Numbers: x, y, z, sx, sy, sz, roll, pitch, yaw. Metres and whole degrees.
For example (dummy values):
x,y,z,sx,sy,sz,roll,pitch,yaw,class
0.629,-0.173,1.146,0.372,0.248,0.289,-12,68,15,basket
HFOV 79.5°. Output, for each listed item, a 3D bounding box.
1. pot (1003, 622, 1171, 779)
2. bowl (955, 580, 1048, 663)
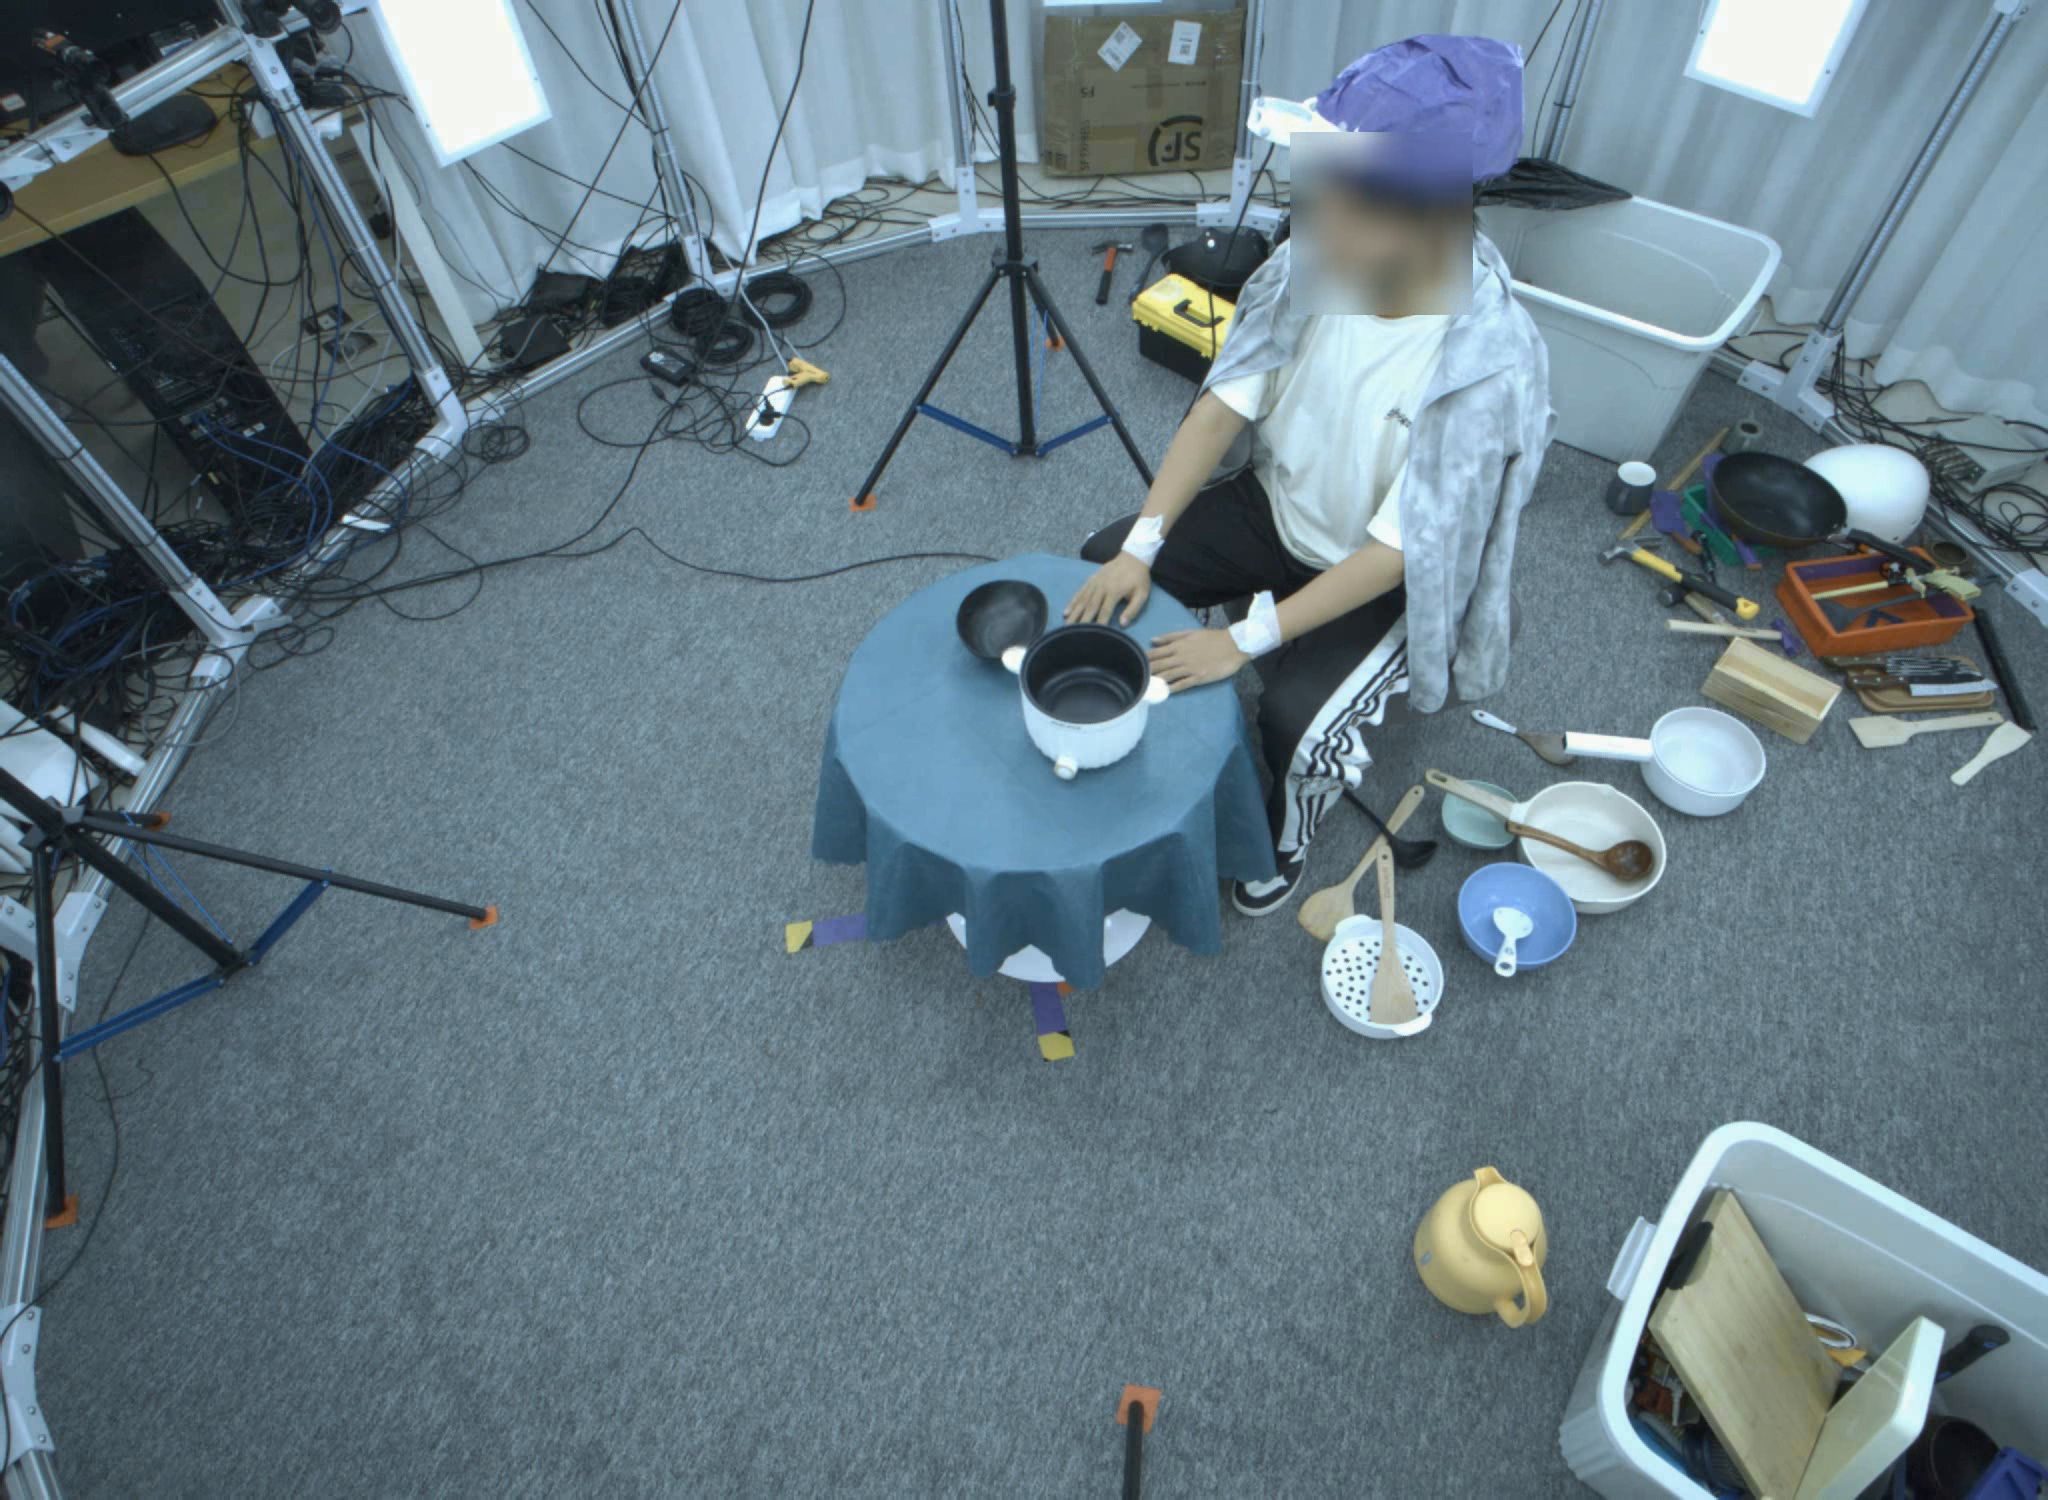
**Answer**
x,y,z,sx,sy,sz,roll,pitch,yaw,class
0.087,-0.066,1.748,0.238,0.144,0.190,13,53,12,pot
-0.032,-0.190,1.885,0.136,0.067,0.170,14,55,11,bowl
